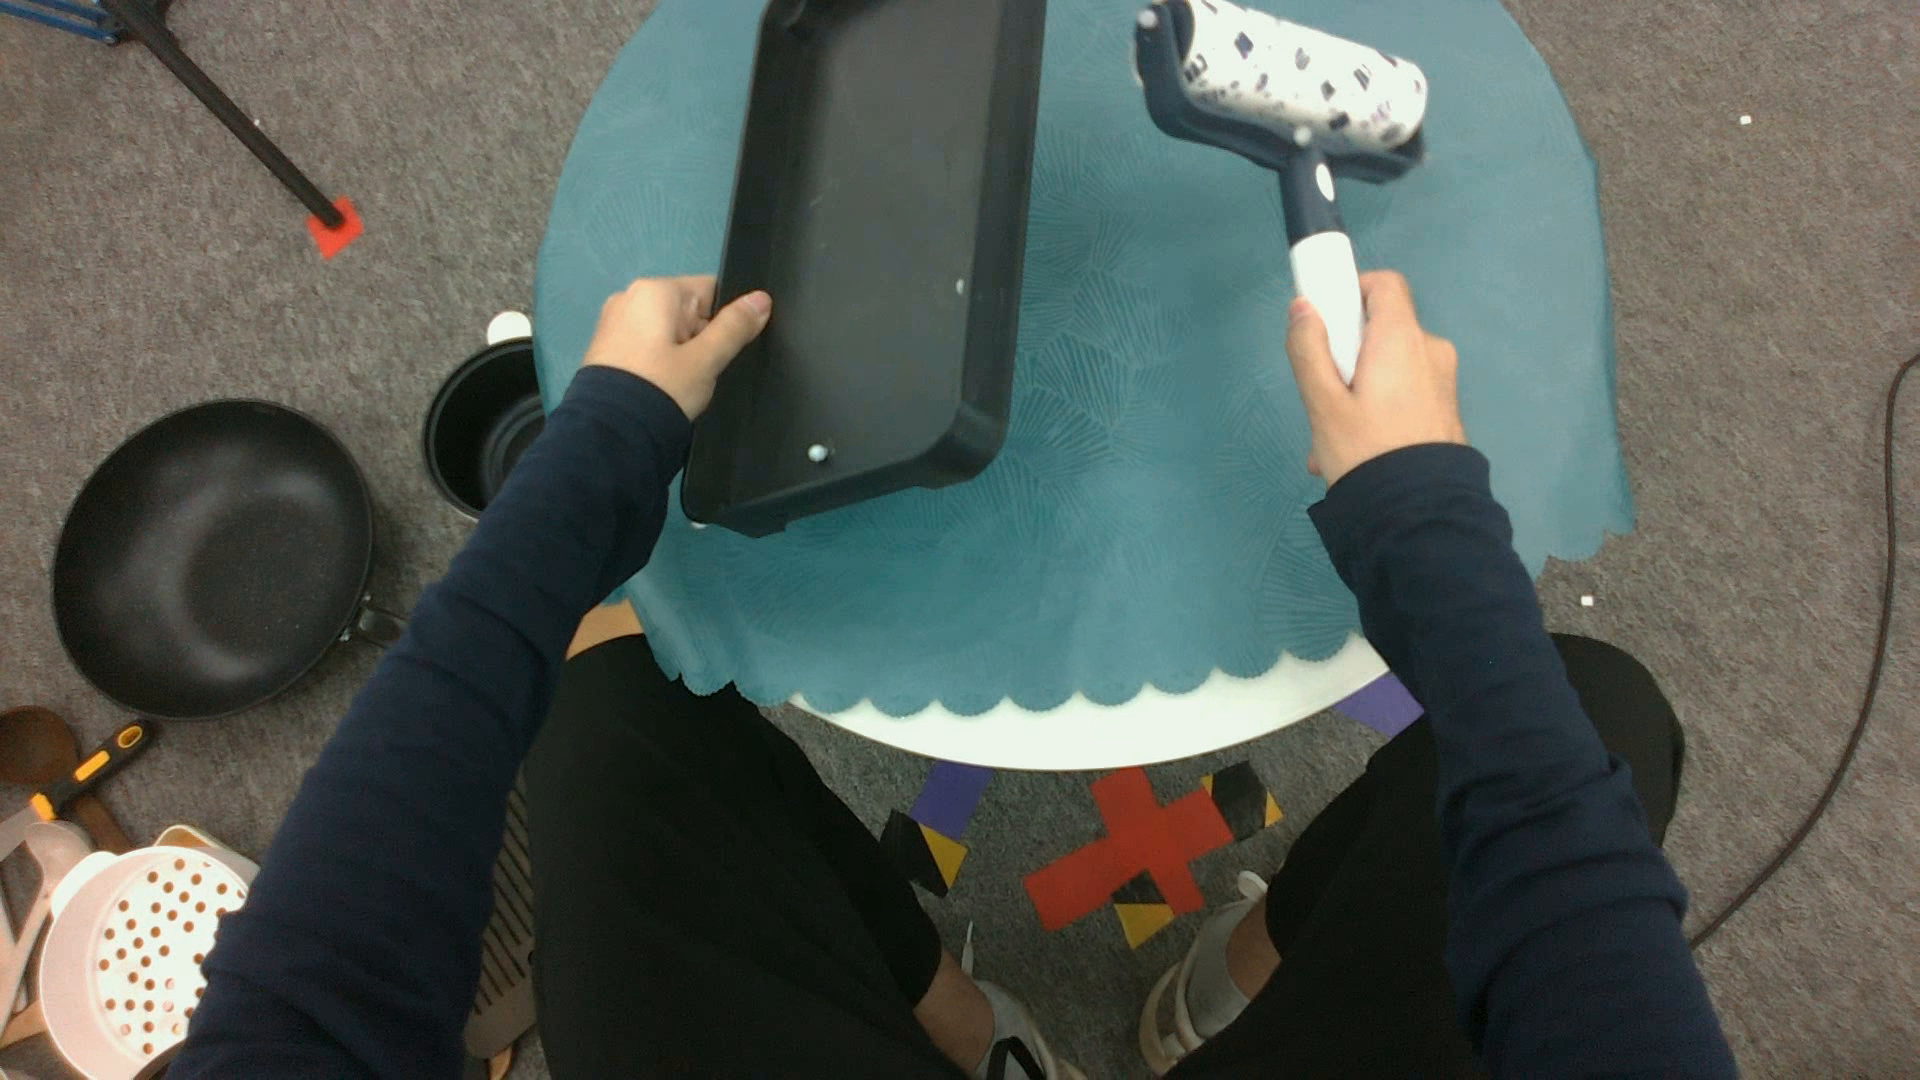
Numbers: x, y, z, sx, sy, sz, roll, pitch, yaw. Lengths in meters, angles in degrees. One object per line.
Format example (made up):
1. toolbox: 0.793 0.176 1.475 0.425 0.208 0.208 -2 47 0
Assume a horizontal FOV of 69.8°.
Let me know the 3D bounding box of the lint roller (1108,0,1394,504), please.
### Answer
1. lint roller: 0.164 -0.140 0.653 0.177 0.050 0.247 -2 75 -37

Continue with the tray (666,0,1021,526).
1. tray: -0.053 -0.170 0.655 0.183 0.037 0.319 -14 63 41
